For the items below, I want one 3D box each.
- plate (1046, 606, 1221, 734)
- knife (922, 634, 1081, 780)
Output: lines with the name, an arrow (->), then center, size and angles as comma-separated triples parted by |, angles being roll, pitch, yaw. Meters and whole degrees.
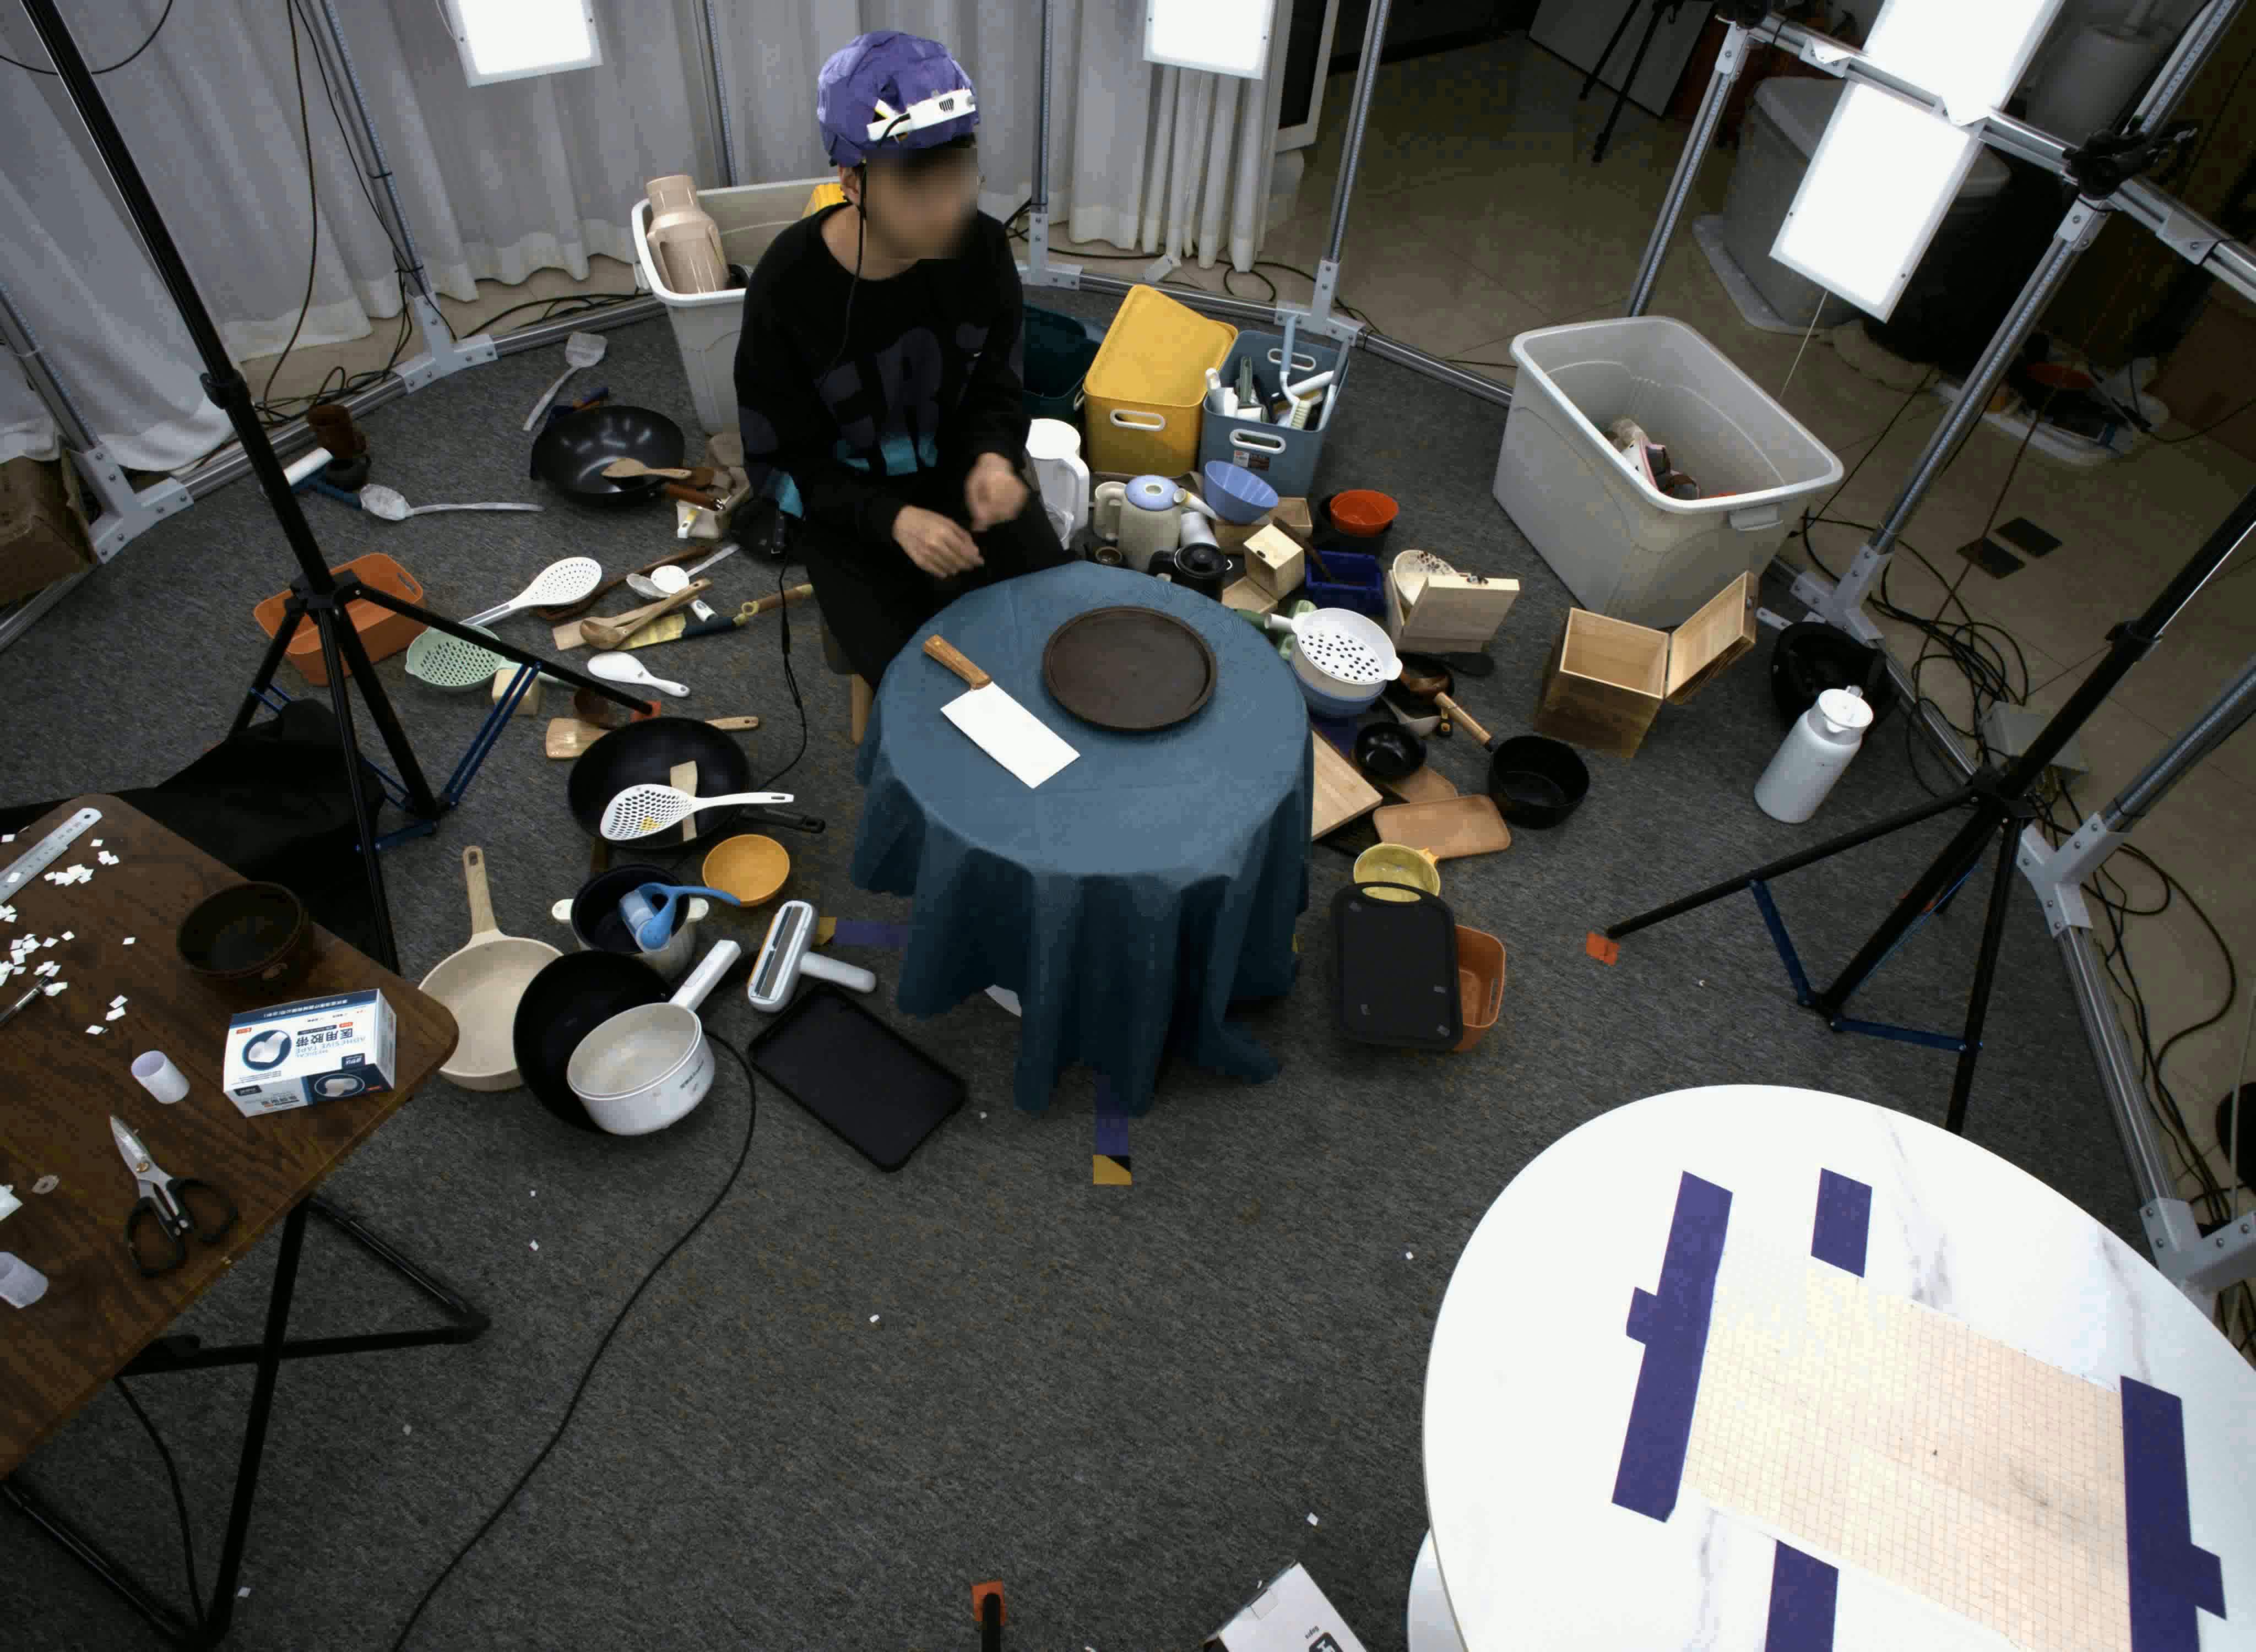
plate -> 0.008, -0.227, 1.850 | 0.254, 0.028, 0.261 | 3, 49, -3
knife -> -0.198, -0.164, 1.788 | 0.094, 0.020, 0.310 | -36, 62, -28
